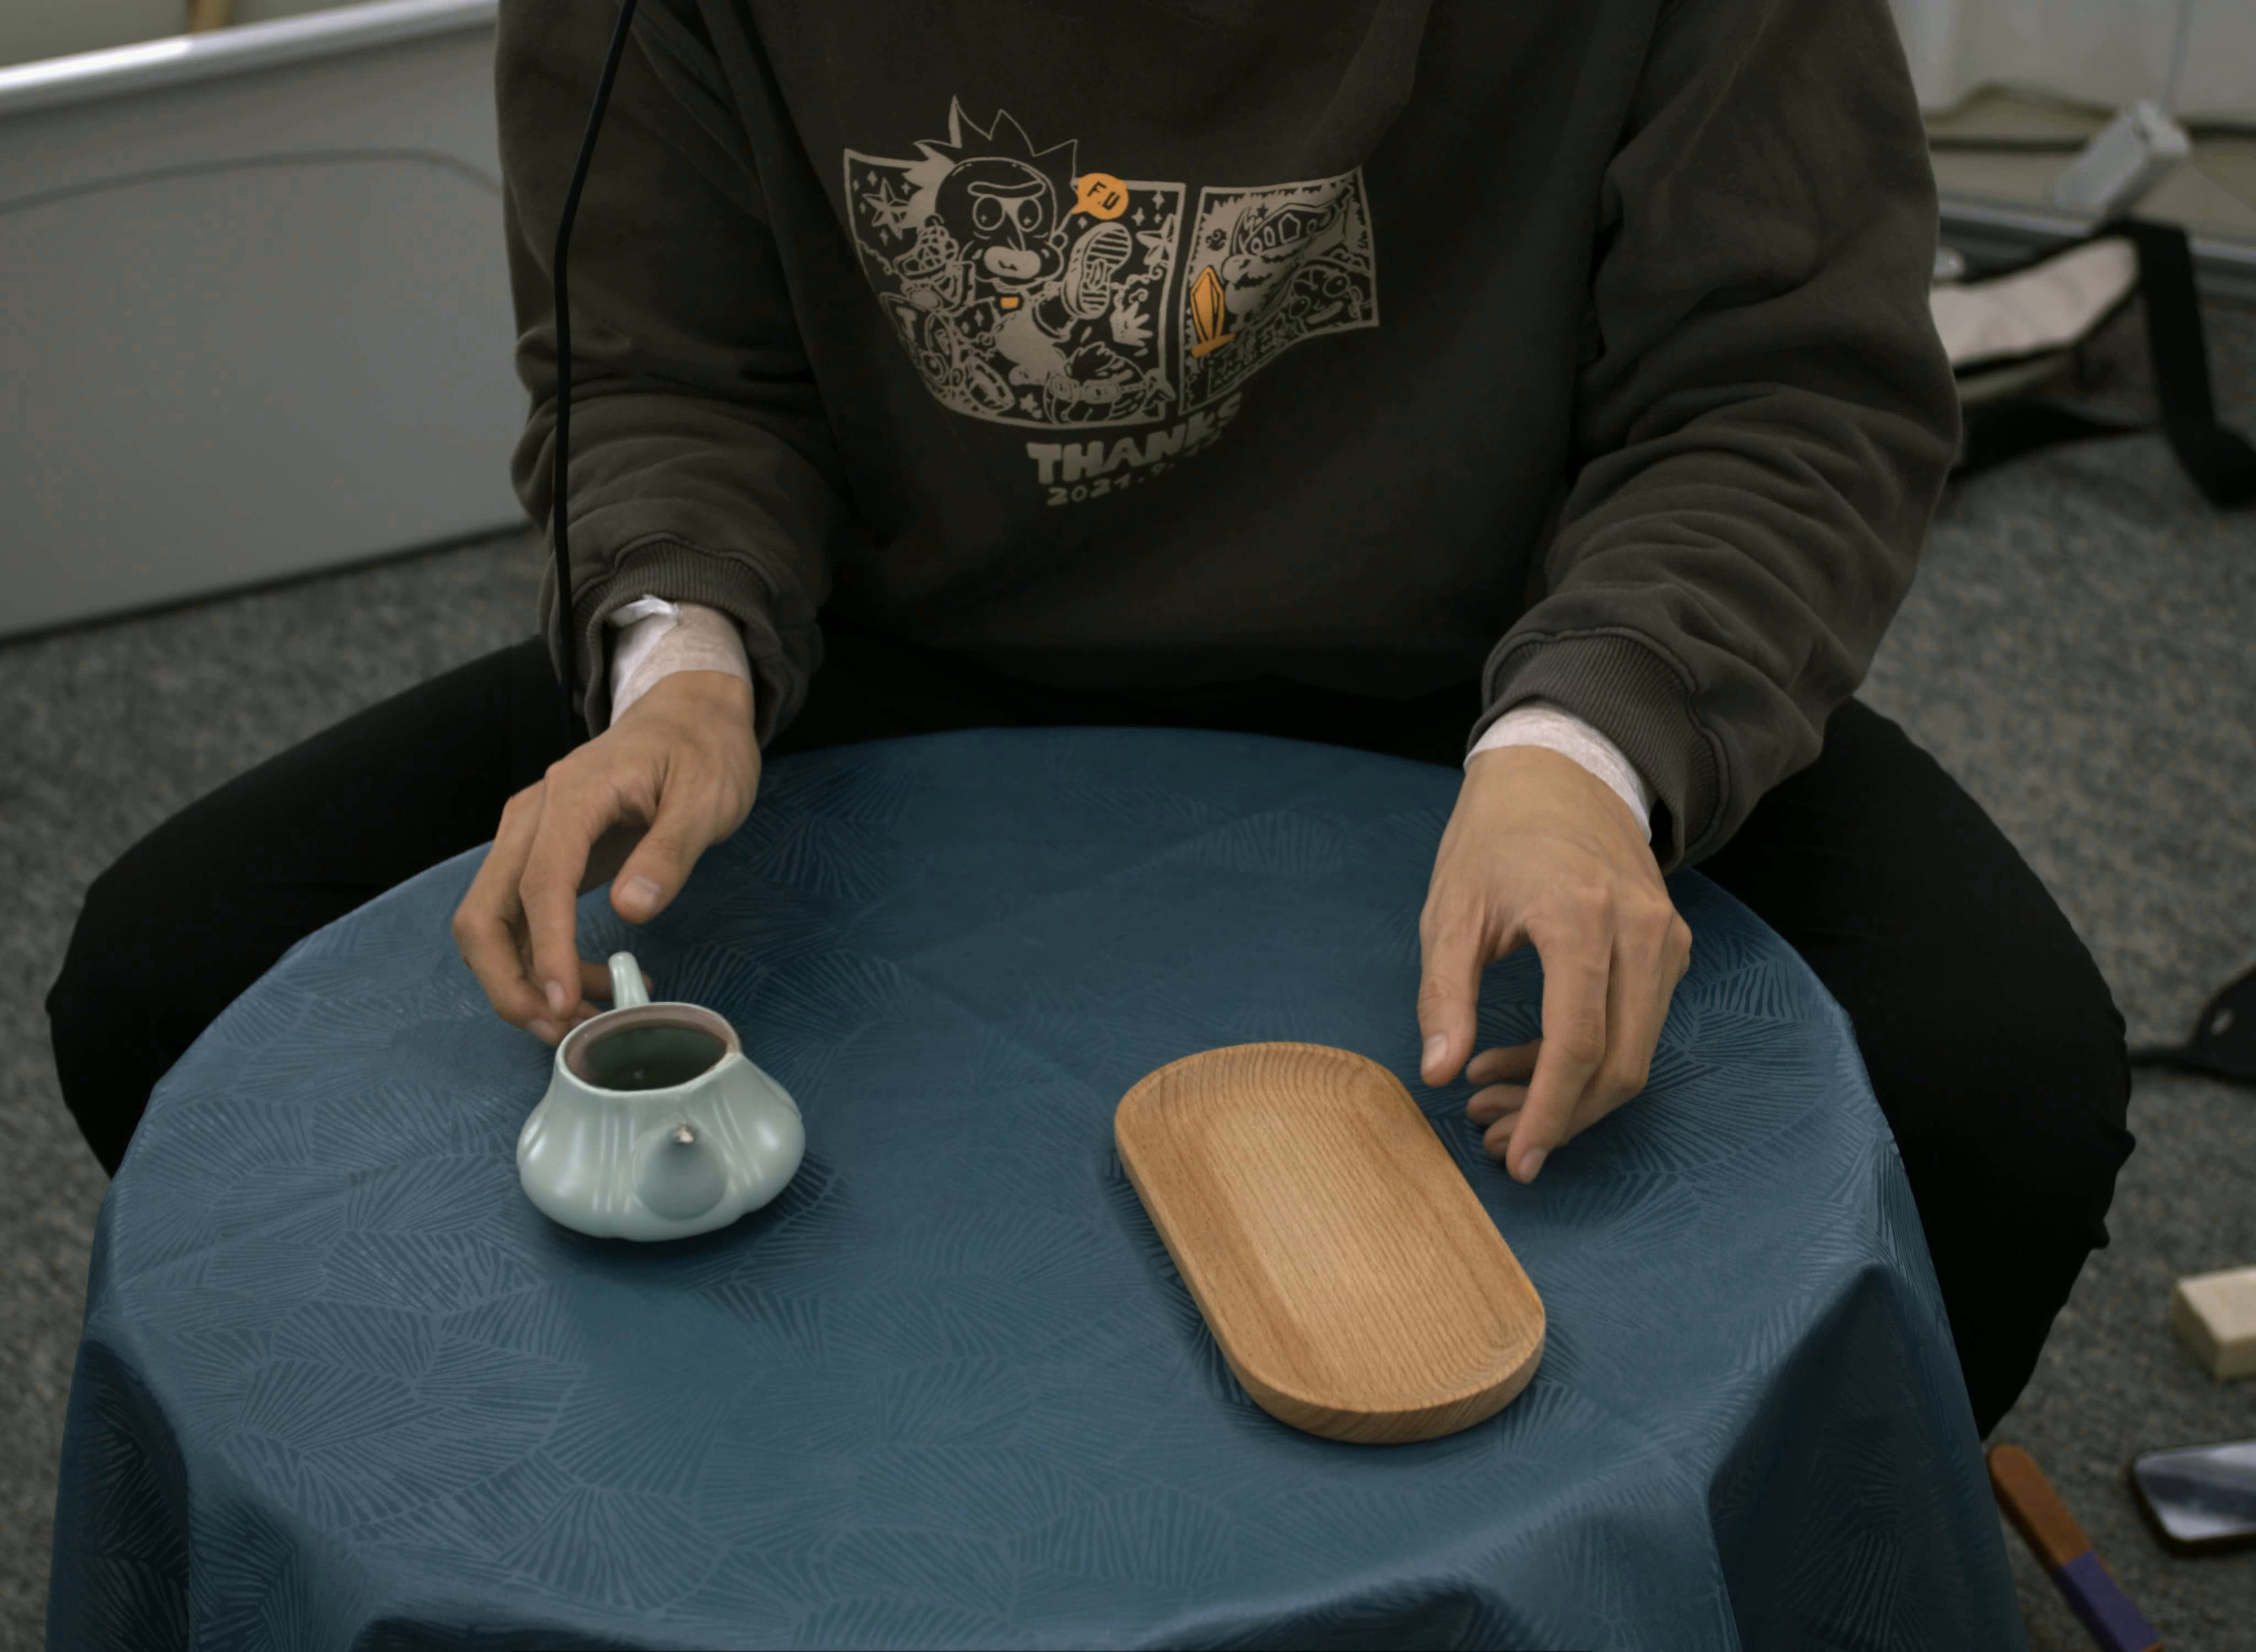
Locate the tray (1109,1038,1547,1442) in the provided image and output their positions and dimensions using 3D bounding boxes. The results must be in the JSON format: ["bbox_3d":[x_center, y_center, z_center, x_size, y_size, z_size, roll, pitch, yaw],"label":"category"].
[{"bbox_3d":[0.062,0.131,1.817,0.102,0.020,0.233,-10,27,-13],"label":"tray"}]

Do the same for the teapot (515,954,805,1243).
[{"bbox_3d":[-0.158,0.094,1.864,0.096,0.061,0.138,-12,29,-13],"label":"teapot"}]
